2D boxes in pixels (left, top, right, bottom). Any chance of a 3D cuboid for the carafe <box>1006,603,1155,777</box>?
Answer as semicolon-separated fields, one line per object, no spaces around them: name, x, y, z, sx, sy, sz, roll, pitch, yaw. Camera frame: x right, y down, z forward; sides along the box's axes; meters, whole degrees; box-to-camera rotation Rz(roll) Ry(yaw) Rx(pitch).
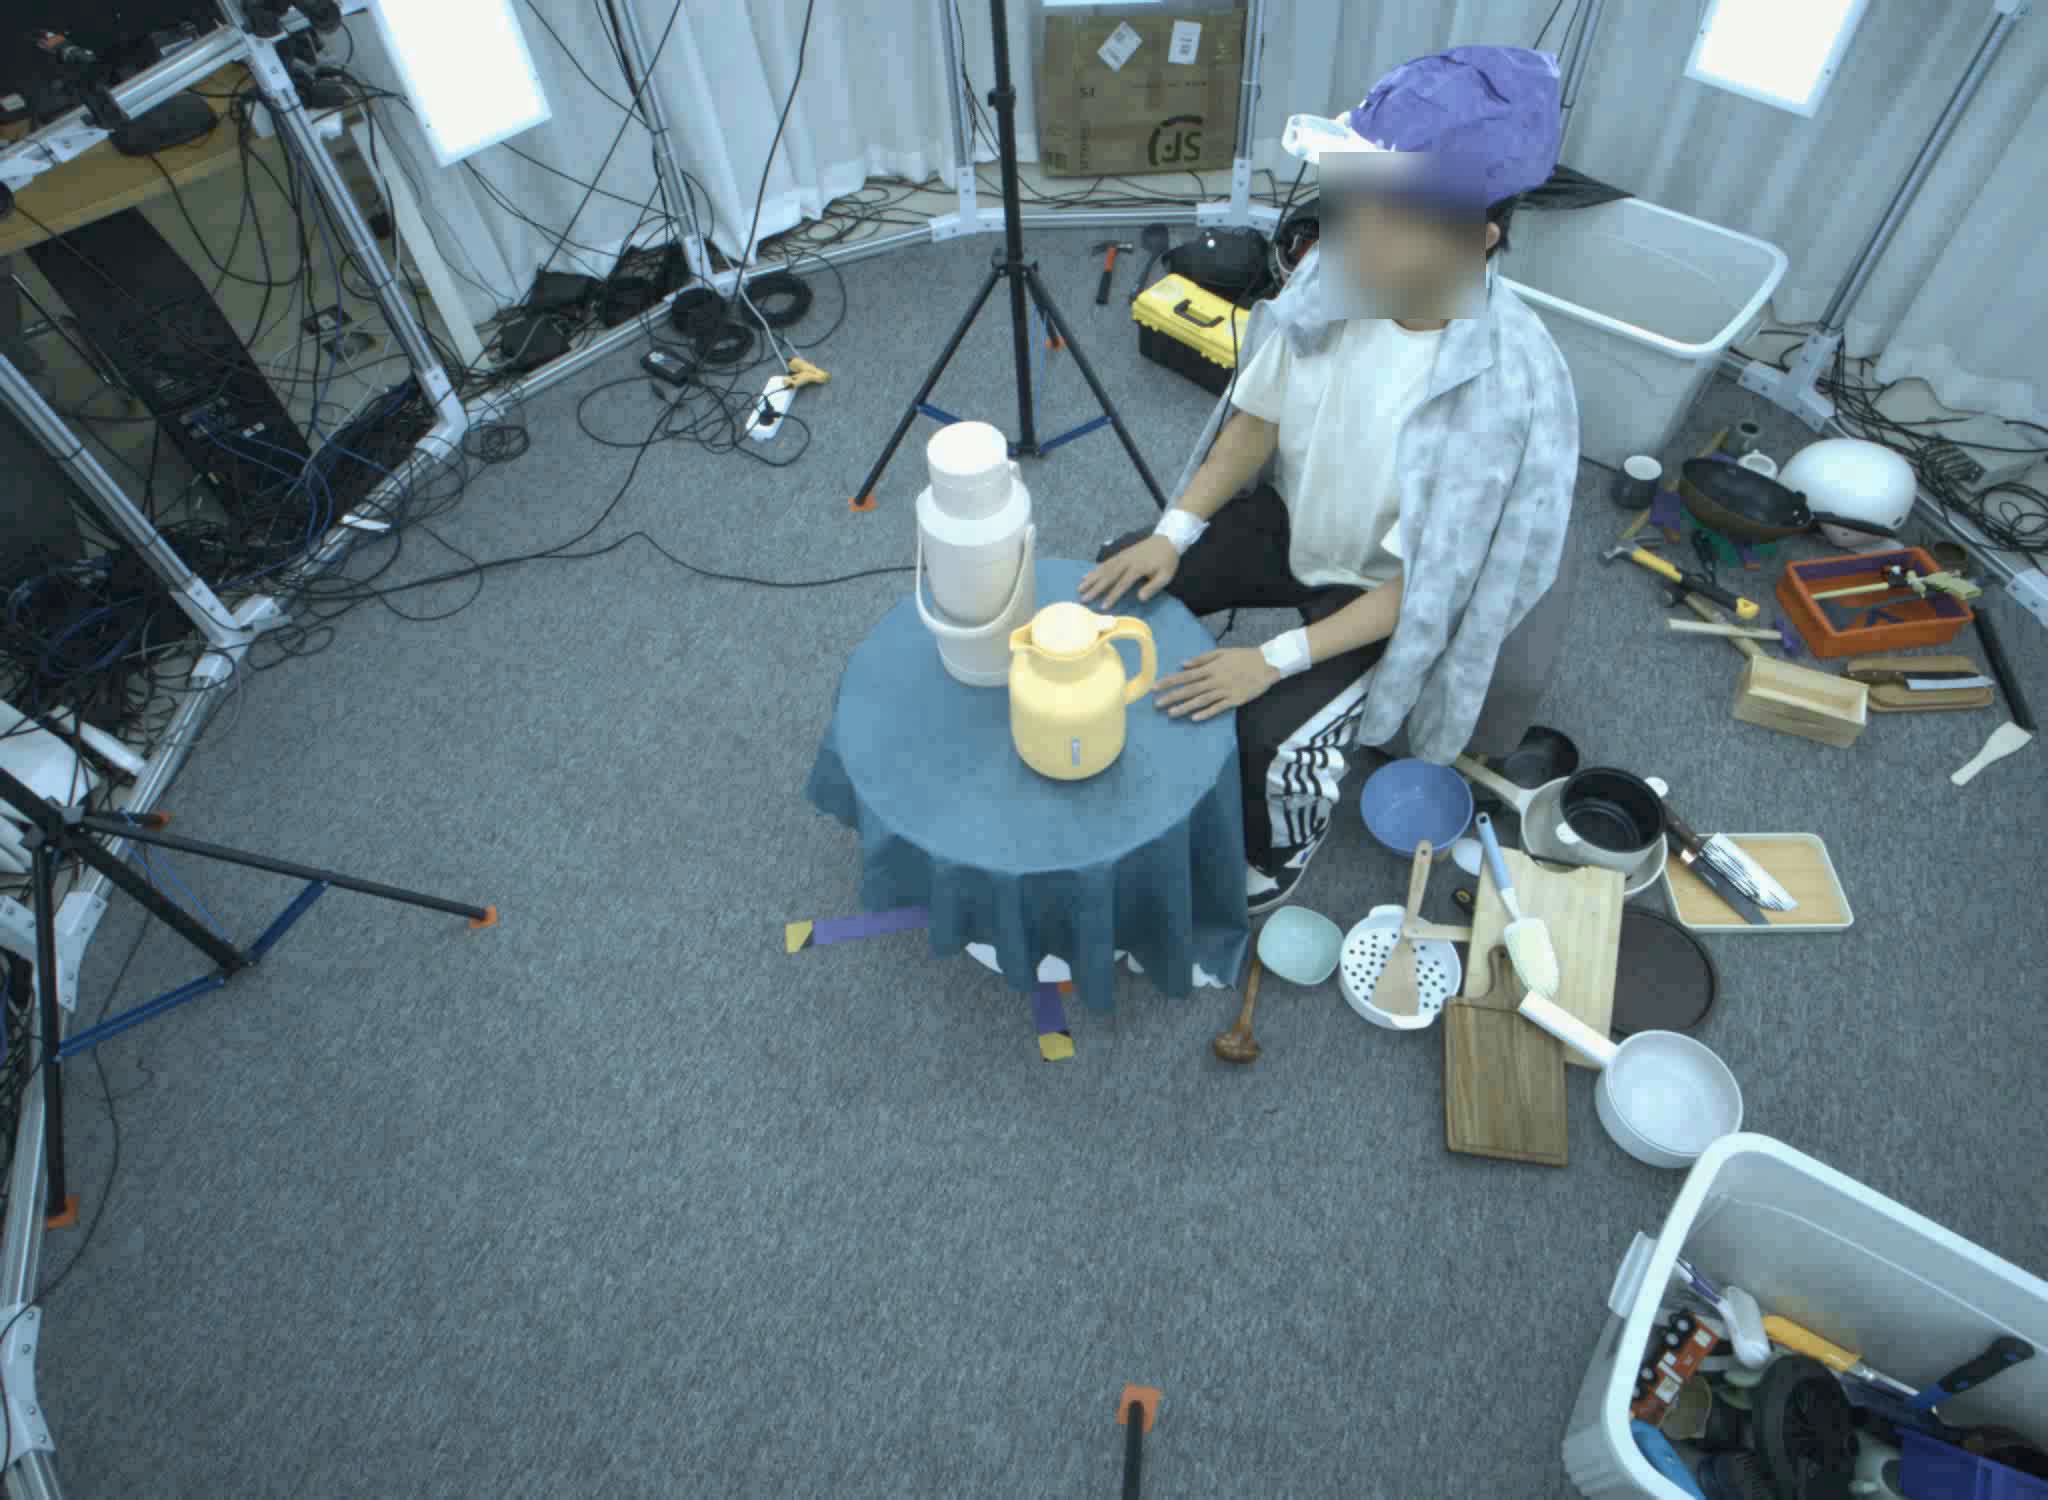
carafe;0.078;-0.089;1.689;0.202;0.263;0.161;-8;57;-1

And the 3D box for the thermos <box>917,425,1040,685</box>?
thermos;-0.056;-0.286;1.748;0.173;0.411;0.207;20;59;18
